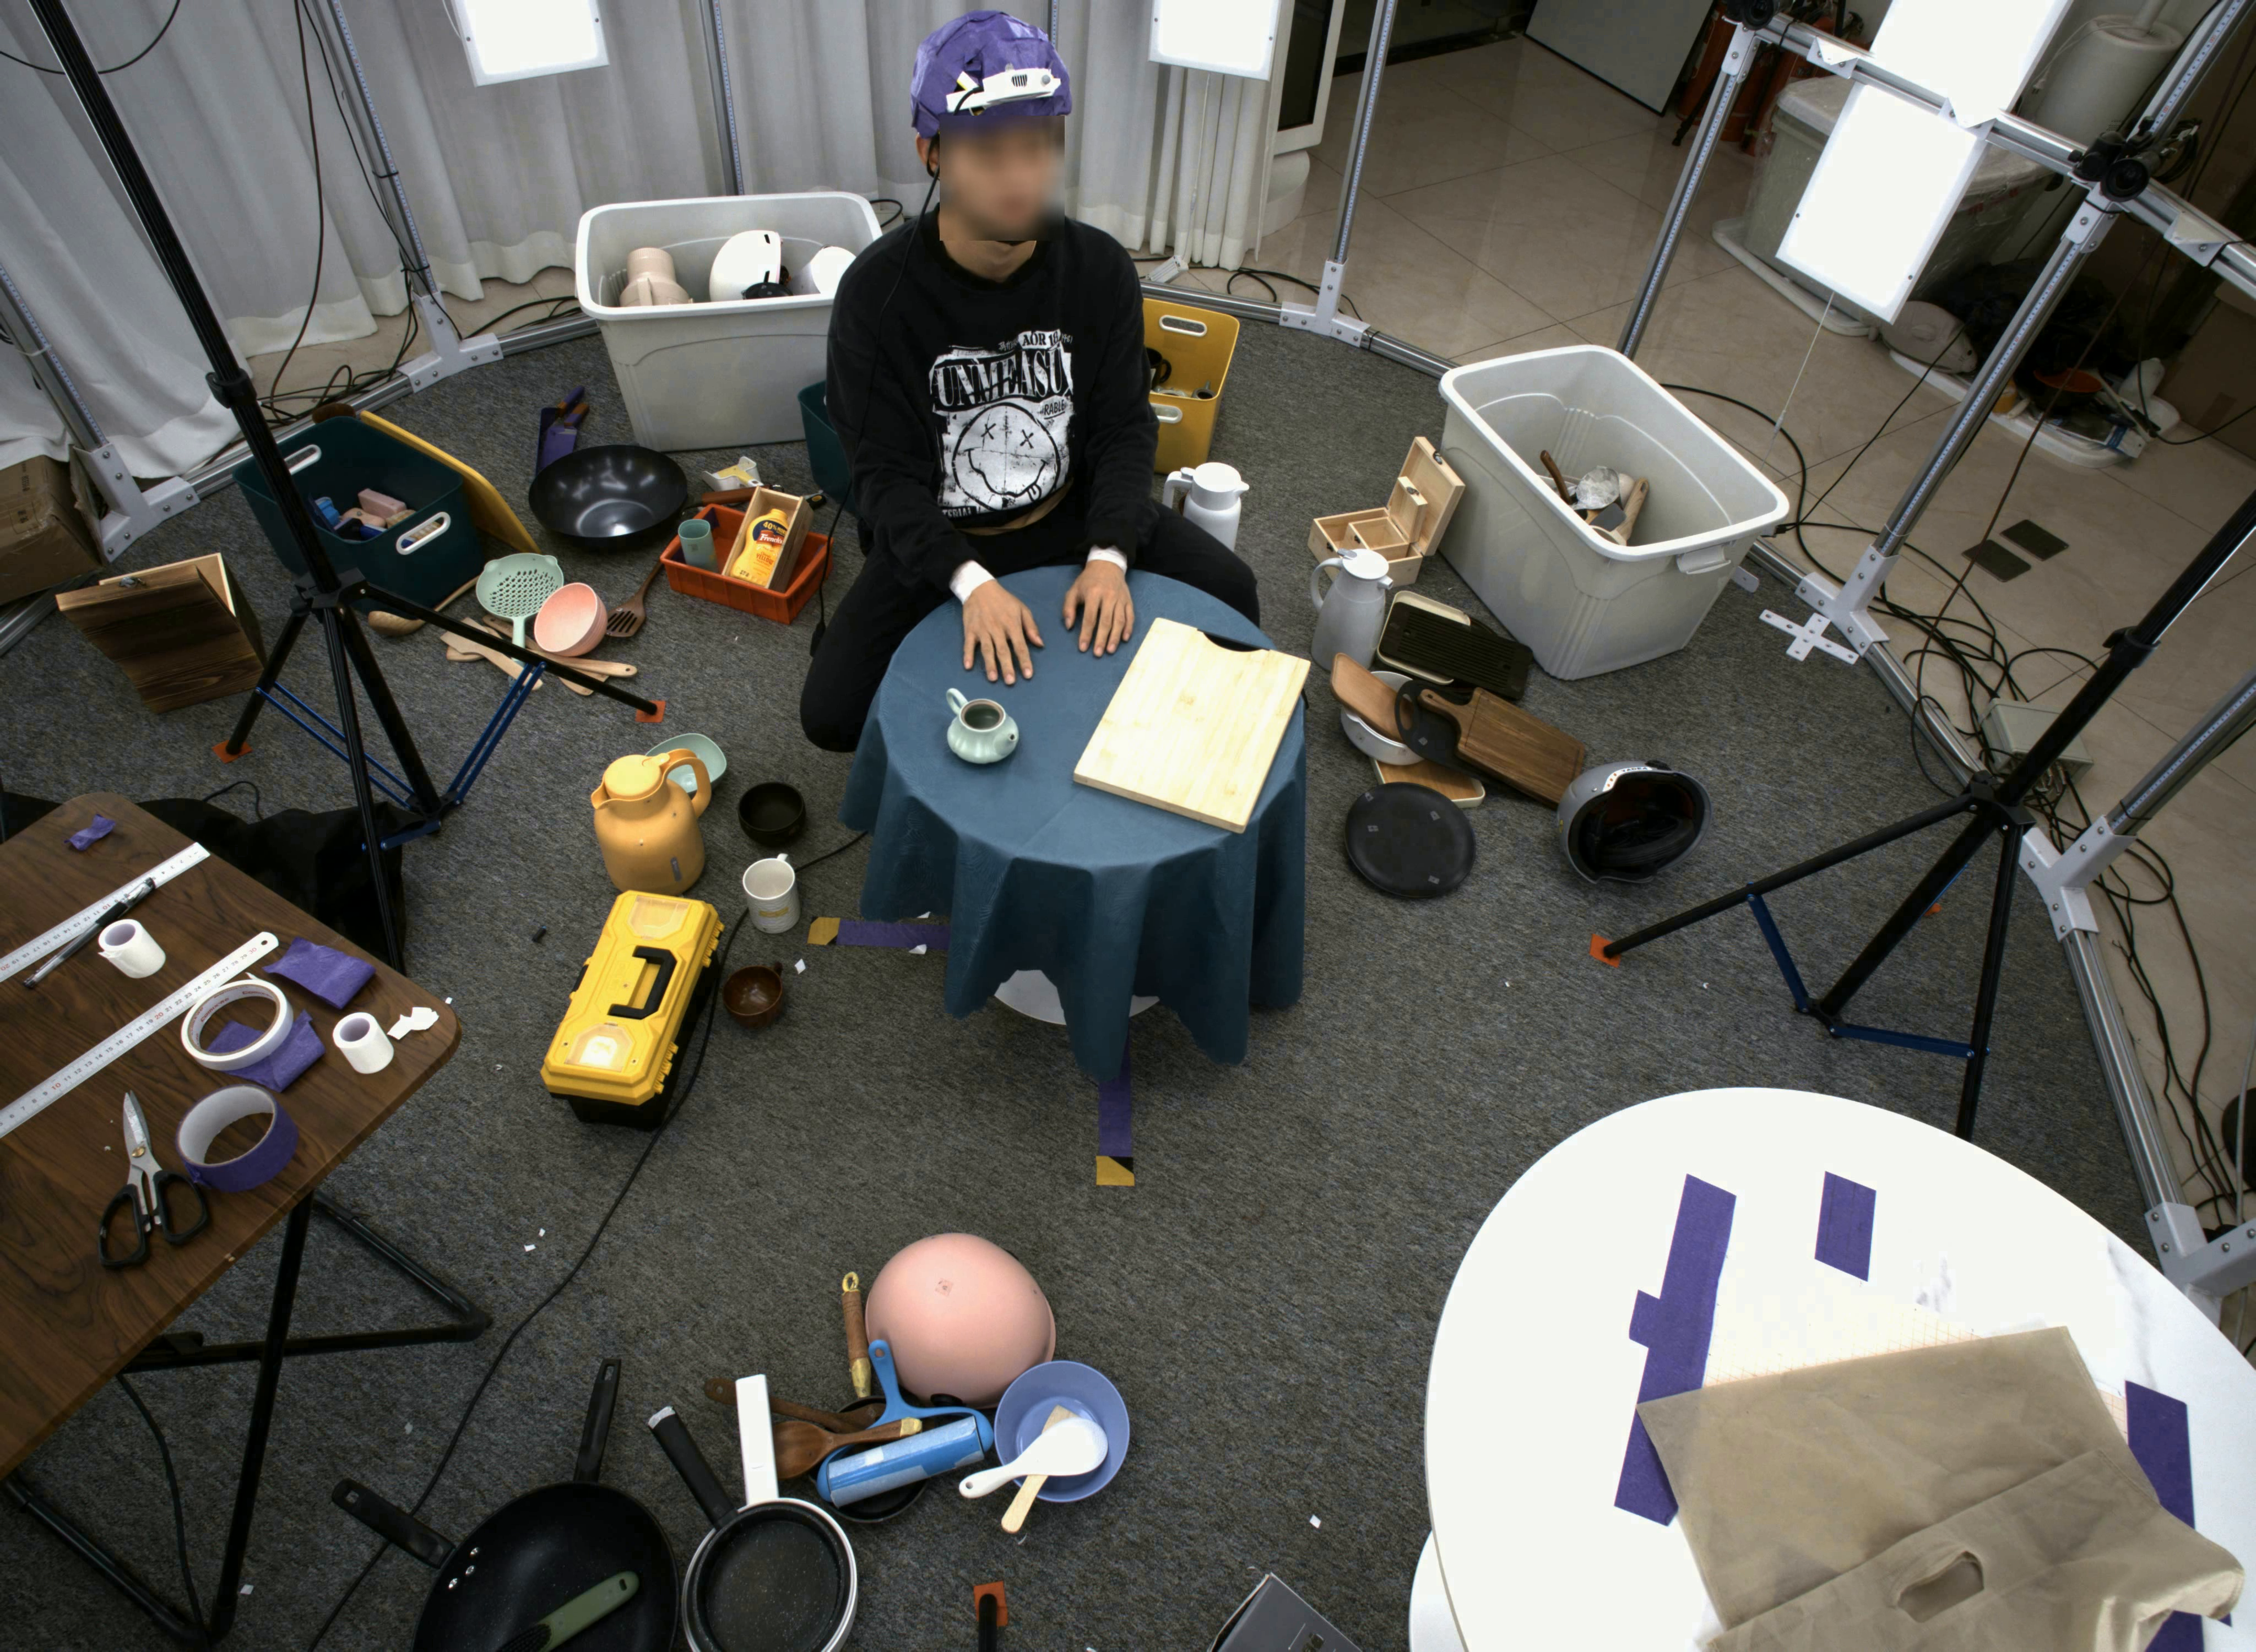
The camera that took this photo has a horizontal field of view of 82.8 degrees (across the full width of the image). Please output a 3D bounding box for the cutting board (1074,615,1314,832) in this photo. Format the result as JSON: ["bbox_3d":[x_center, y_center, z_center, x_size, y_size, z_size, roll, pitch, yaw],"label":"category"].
[{"bbox_3d":[0.099,-0.154,1.798,0.251,0.023,0.356,16,50,10],"label":"cutting board"}]

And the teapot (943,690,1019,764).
[{"bbox_3d":[-0.199,-0.134,1.734,0.139,0.060,0.097,36,58,24],"label":"teapot"}]
